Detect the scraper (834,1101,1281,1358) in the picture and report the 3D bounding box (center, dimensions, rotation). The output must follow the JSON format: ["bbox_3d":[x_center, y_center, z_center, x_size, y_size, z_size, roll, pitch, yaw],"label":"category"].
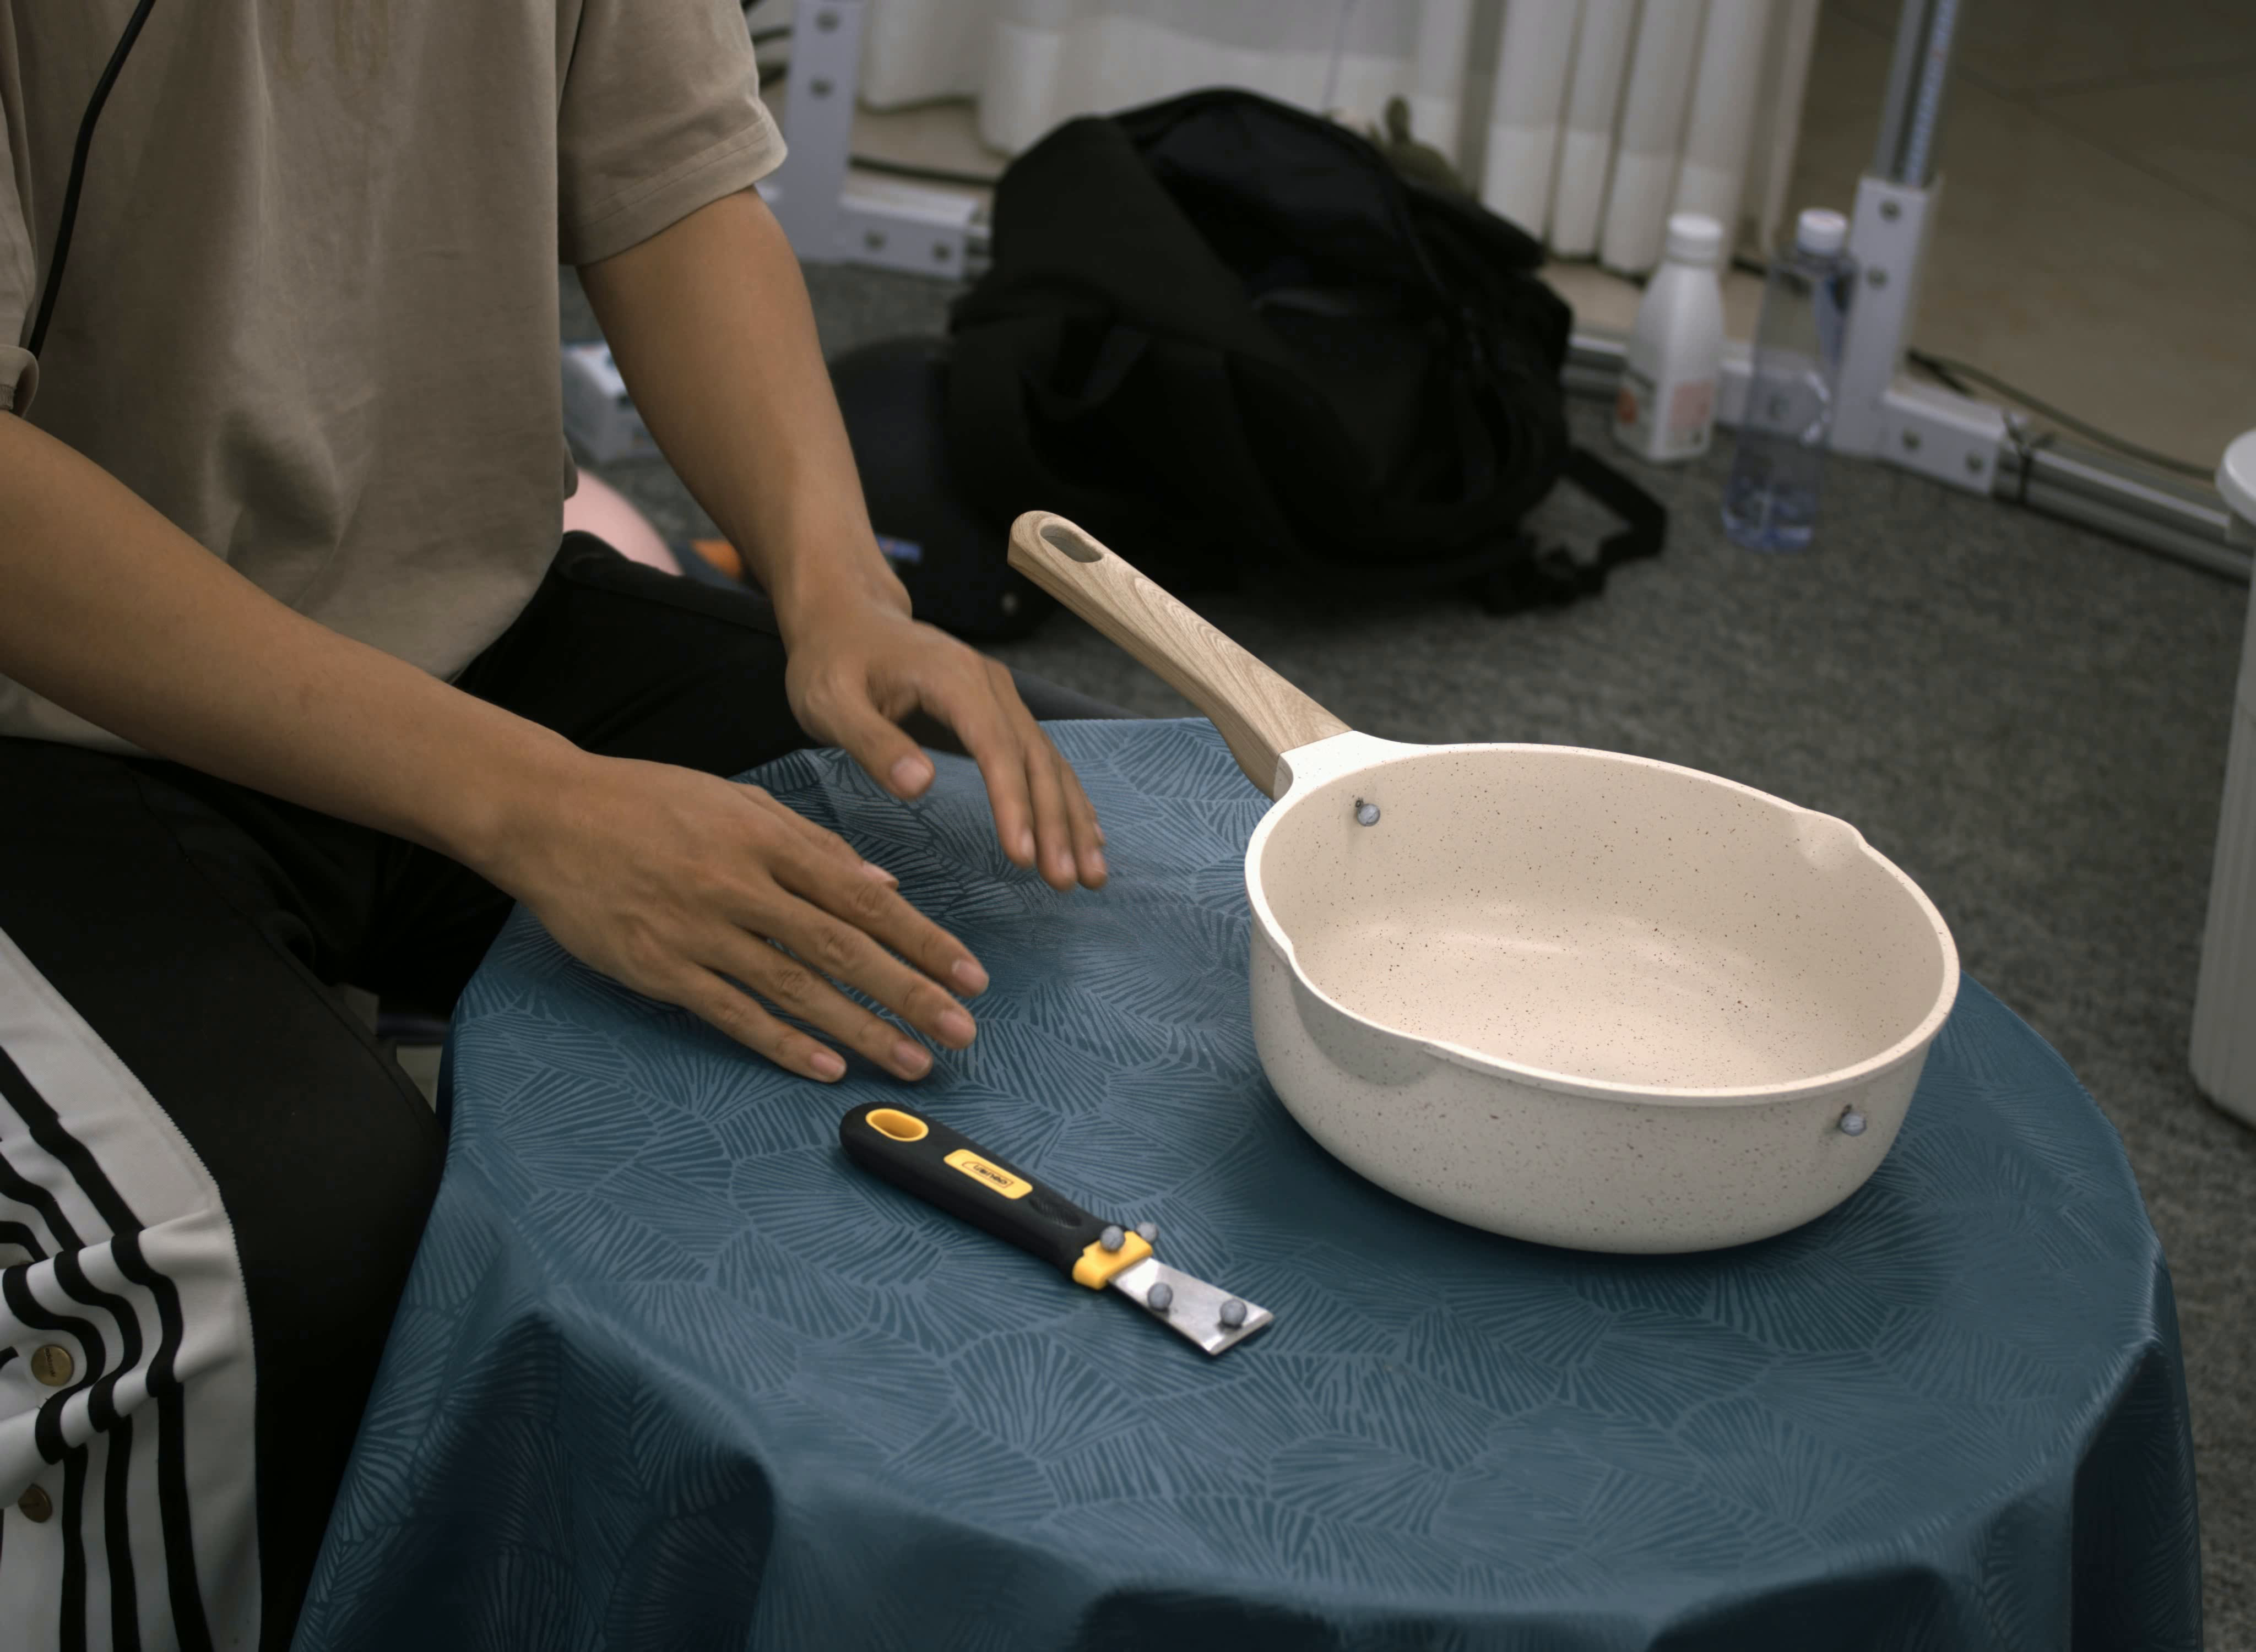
[{"bbox_3d":[-0.028,0.132,1.763,0.172,0.015,0.039,26,39,28],"label":"scraper"}]

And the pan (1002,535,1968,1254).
[{"bbox_3d":[0.103,0.020,1.929,0.262,0.101,0.438,-20,37,-38],"label":"pan"}]
